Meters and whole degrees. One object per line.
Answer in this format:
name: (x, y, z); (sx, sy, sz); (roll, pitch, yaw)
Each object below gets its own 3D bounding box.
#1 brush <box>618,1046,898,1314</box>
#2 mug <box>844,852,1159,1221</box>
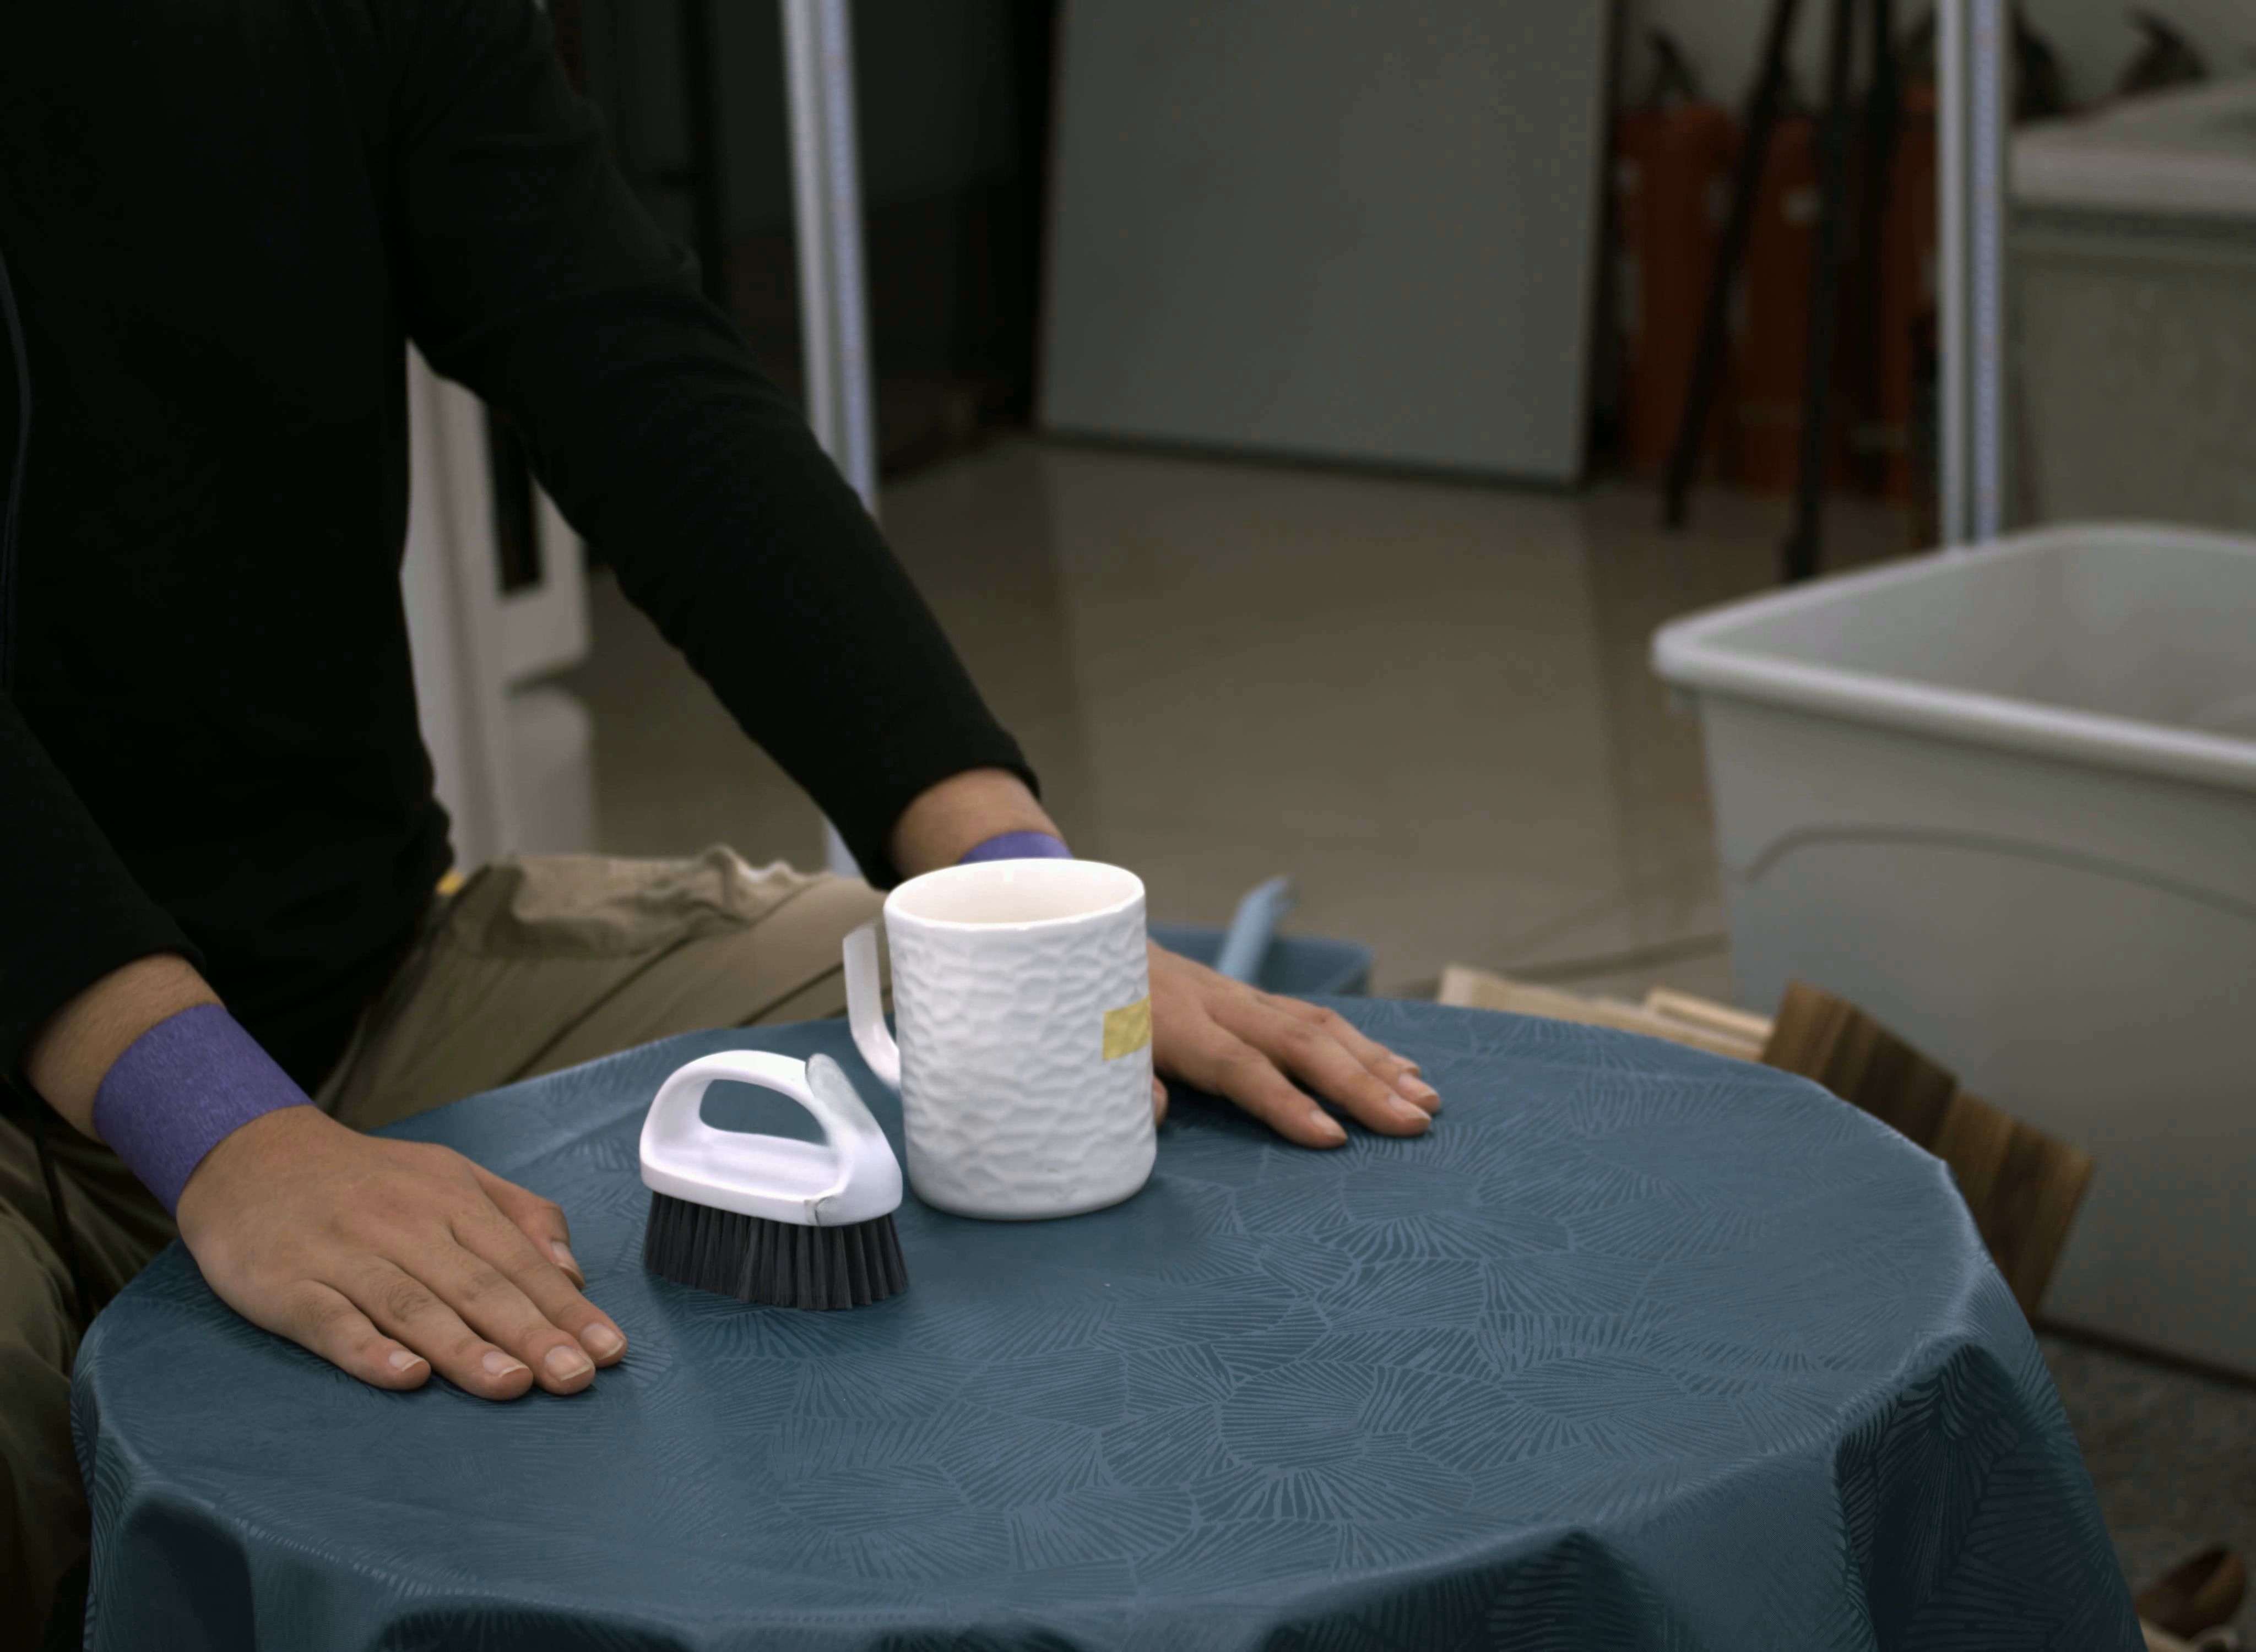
brush: (-0.116, 0.107, 1.701); (0.100, 0.073, 0.049); (11, 14, 34)
mug: (-0.046, 0.067, 1.780); (0.119, 0.103, 0.083); (7, 18, 39)
